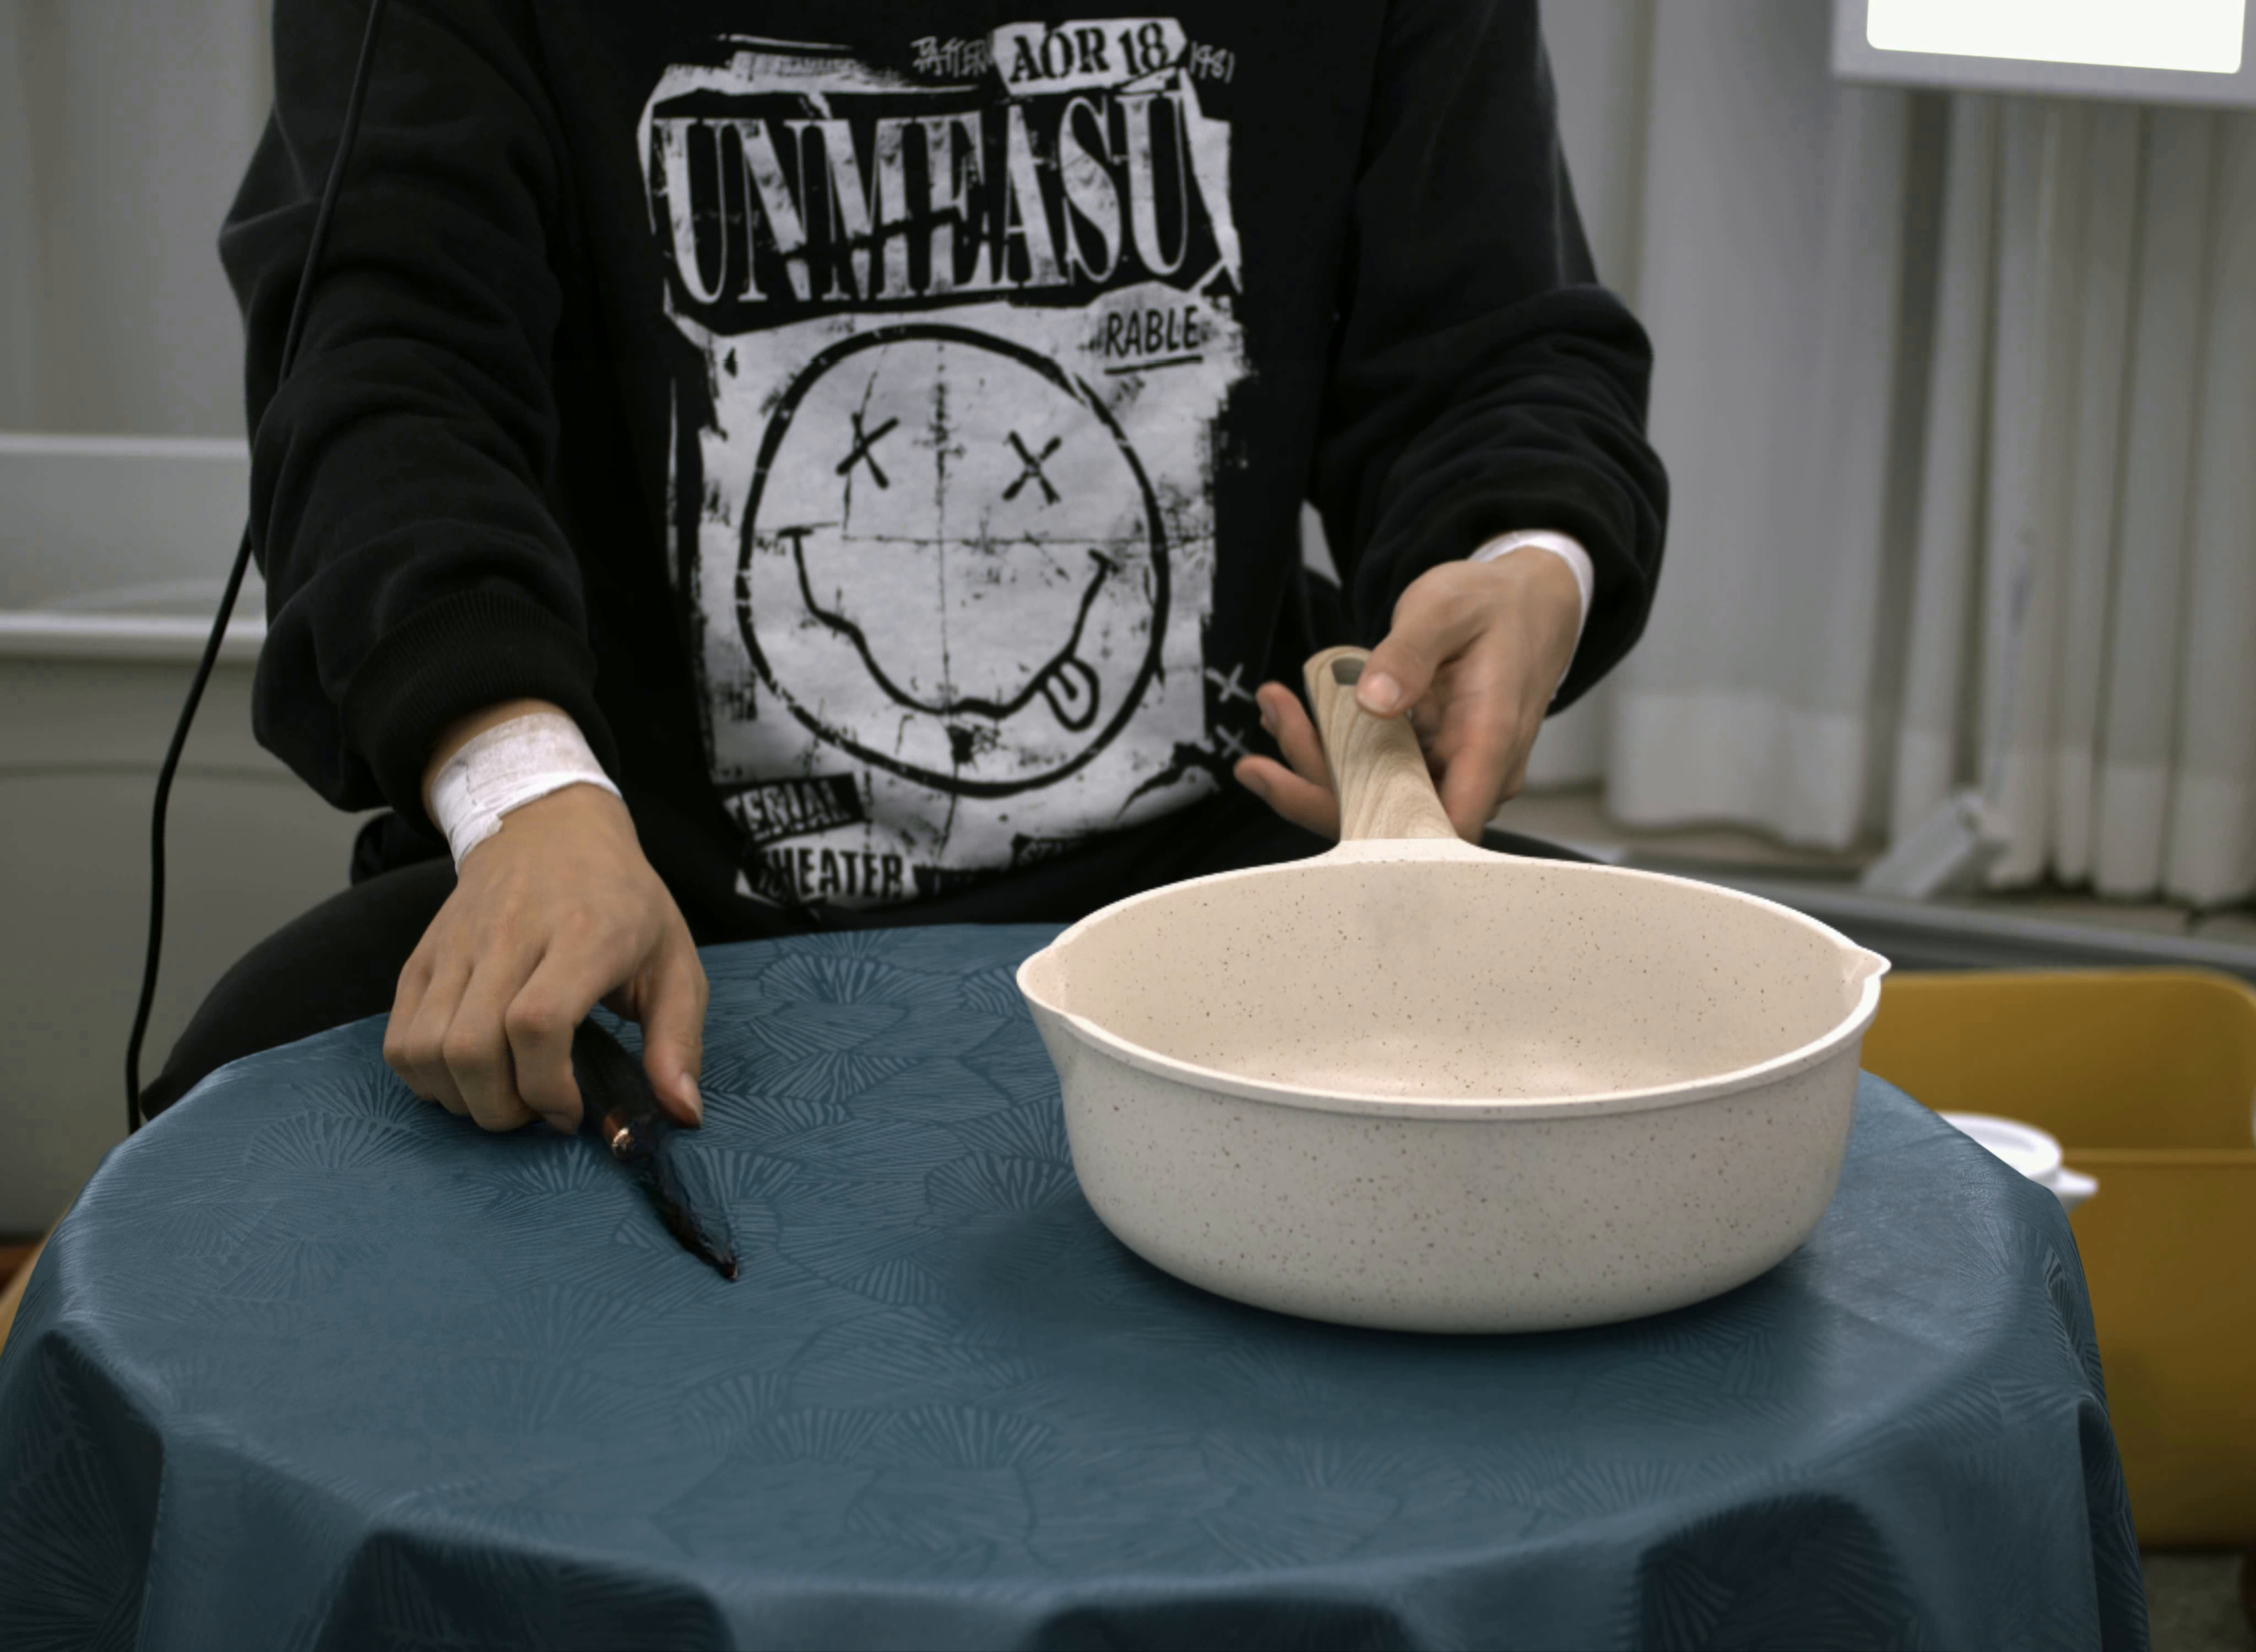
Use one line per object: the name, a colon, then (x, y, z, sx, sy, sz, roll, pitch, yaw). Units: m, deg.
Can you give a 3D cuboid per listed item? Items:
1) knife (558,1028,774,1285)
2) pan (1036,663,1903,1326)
knife: (-0.146, 0.102, 1.640, 0.026, 0.017, 0.223, 12, 11, -22)
pan: (0.095, 0.048, 1.669, 0.263, 0.103, 0.432, -3, 16, -5)
